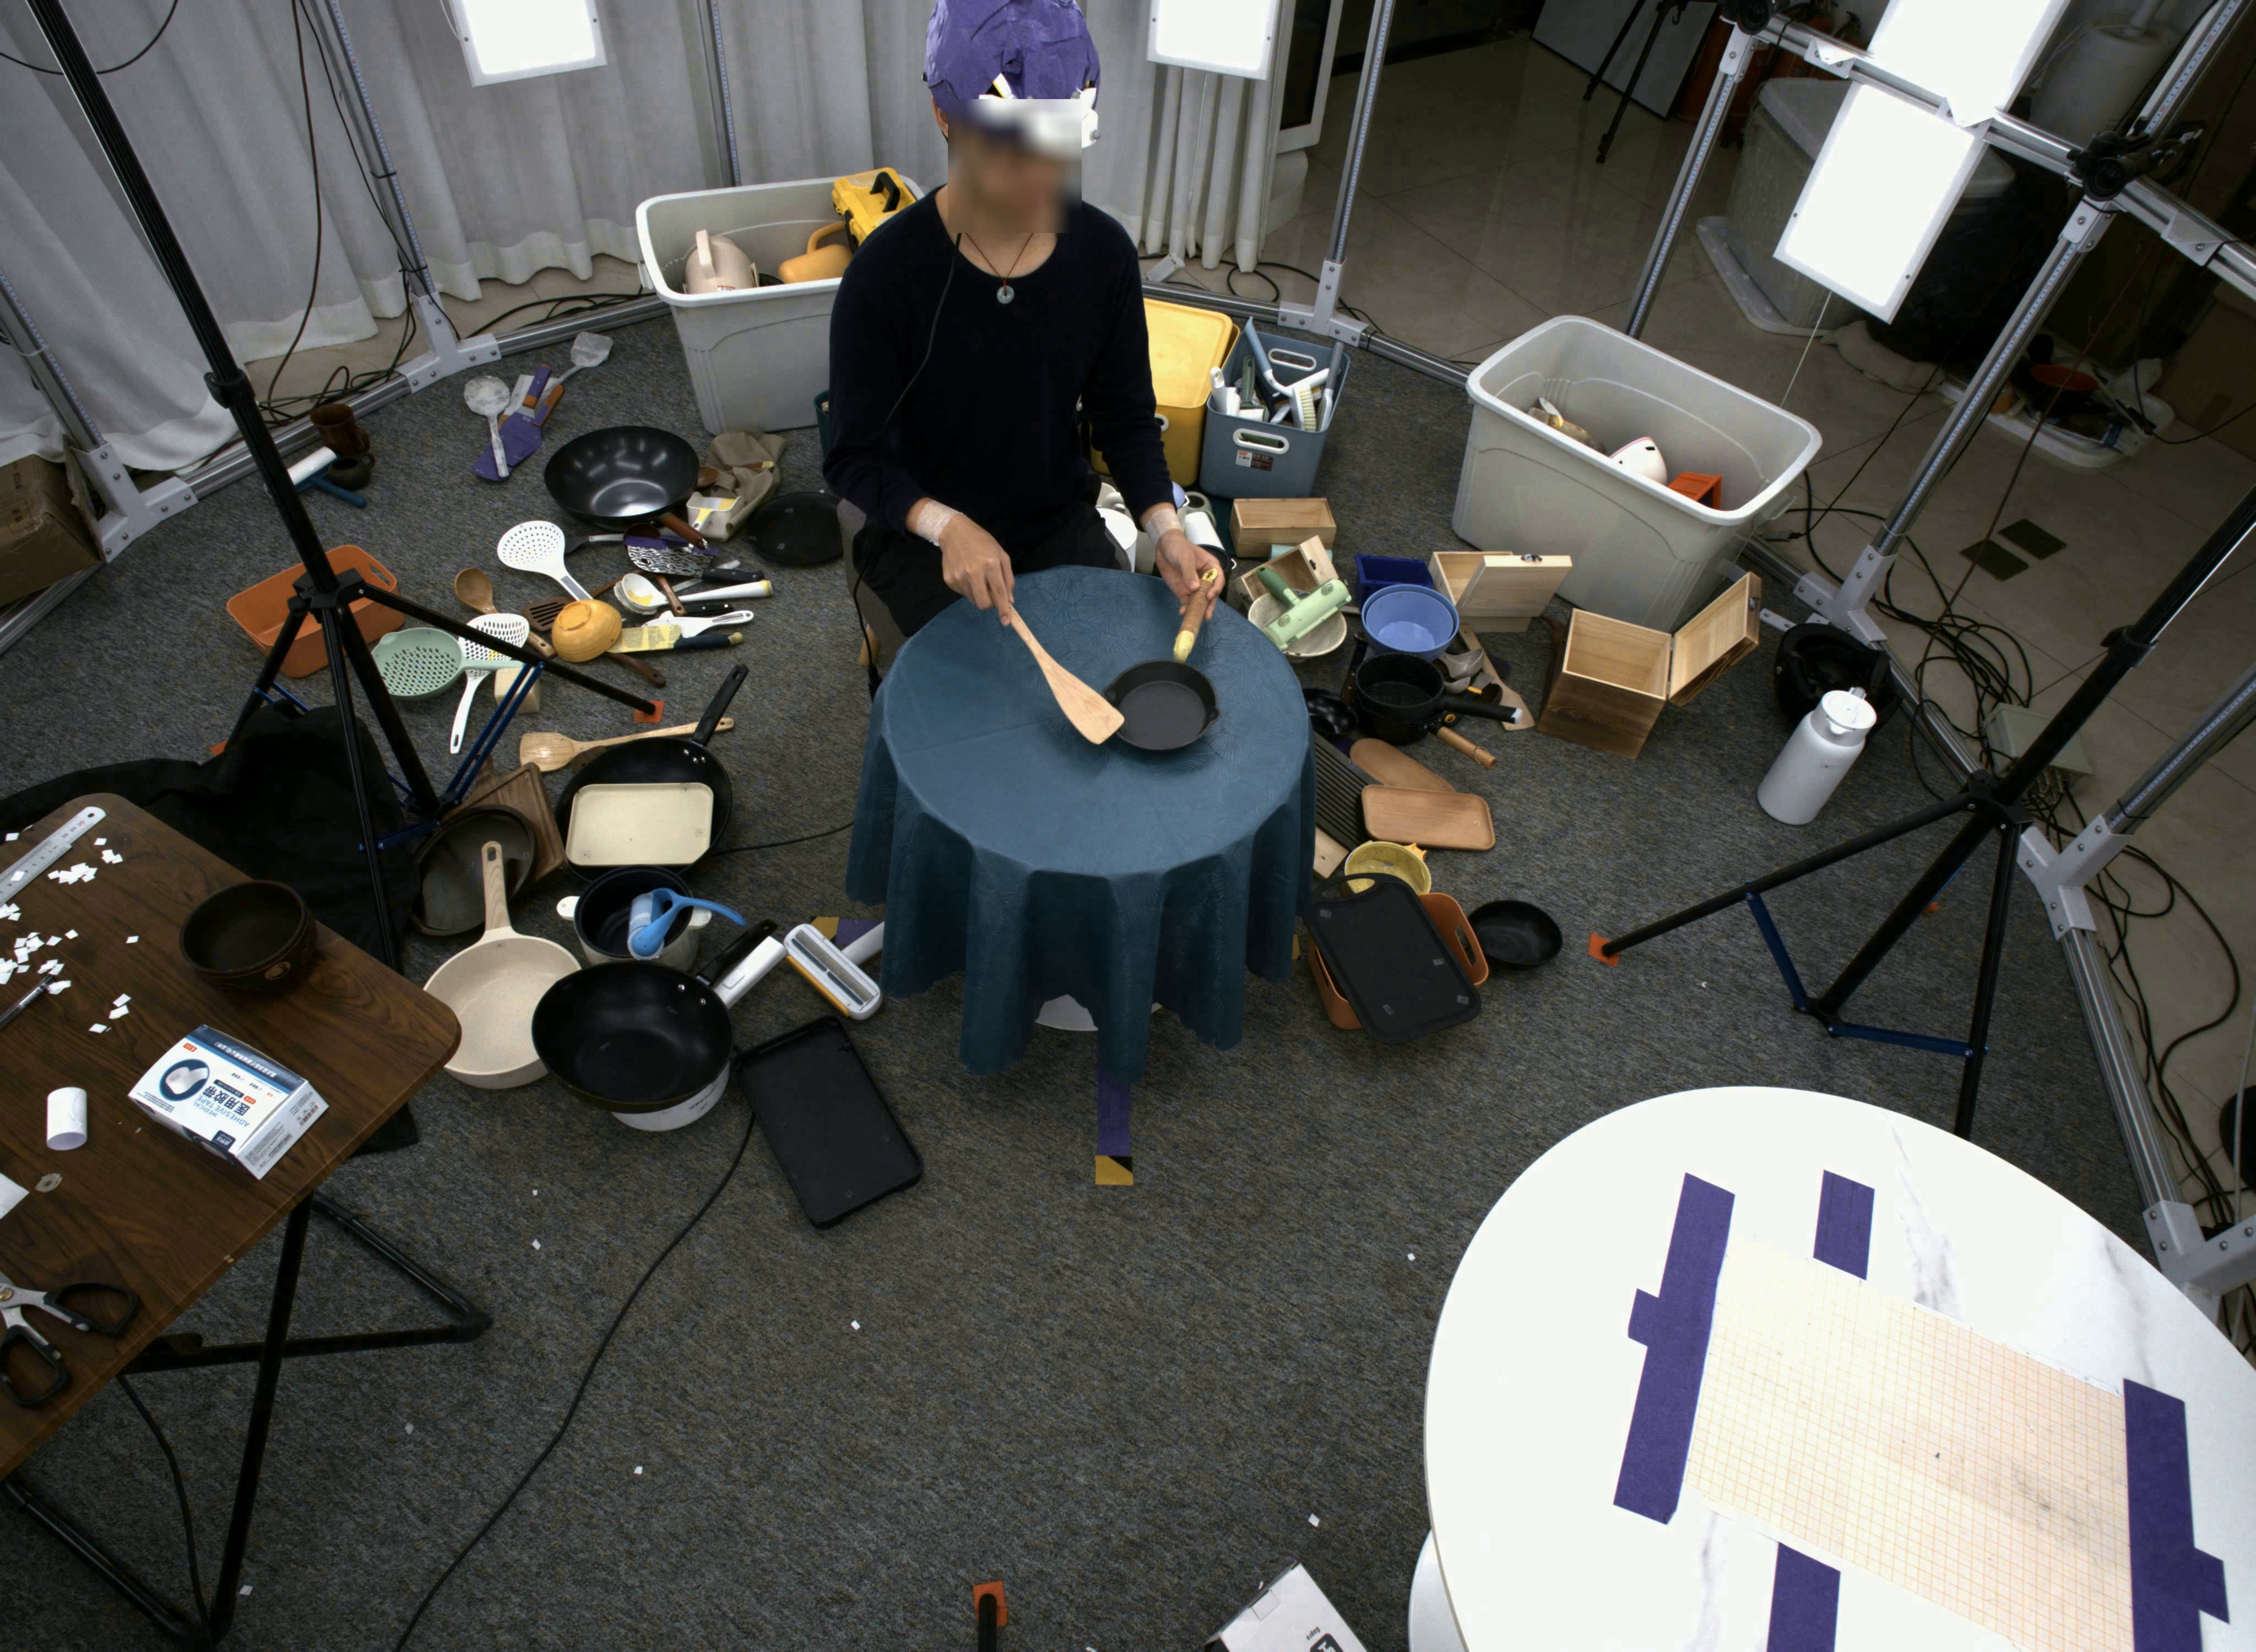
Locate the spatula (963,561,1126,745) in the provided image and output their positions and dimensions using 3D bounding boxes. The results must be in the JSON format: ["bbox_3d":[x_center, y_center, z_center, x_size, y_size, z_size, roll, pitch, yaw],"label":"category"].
[{"bbox_3d":[-0.121,-0.244,1.766,0.080,0.016,0.330,-30,76,-42],"label":"spatula"}]

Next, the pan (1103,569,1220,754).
[{"bbox_3d":[0.074,-0.233,1.816,0.169,0.048,0.330,15,59,14],"label":"pan"}]
